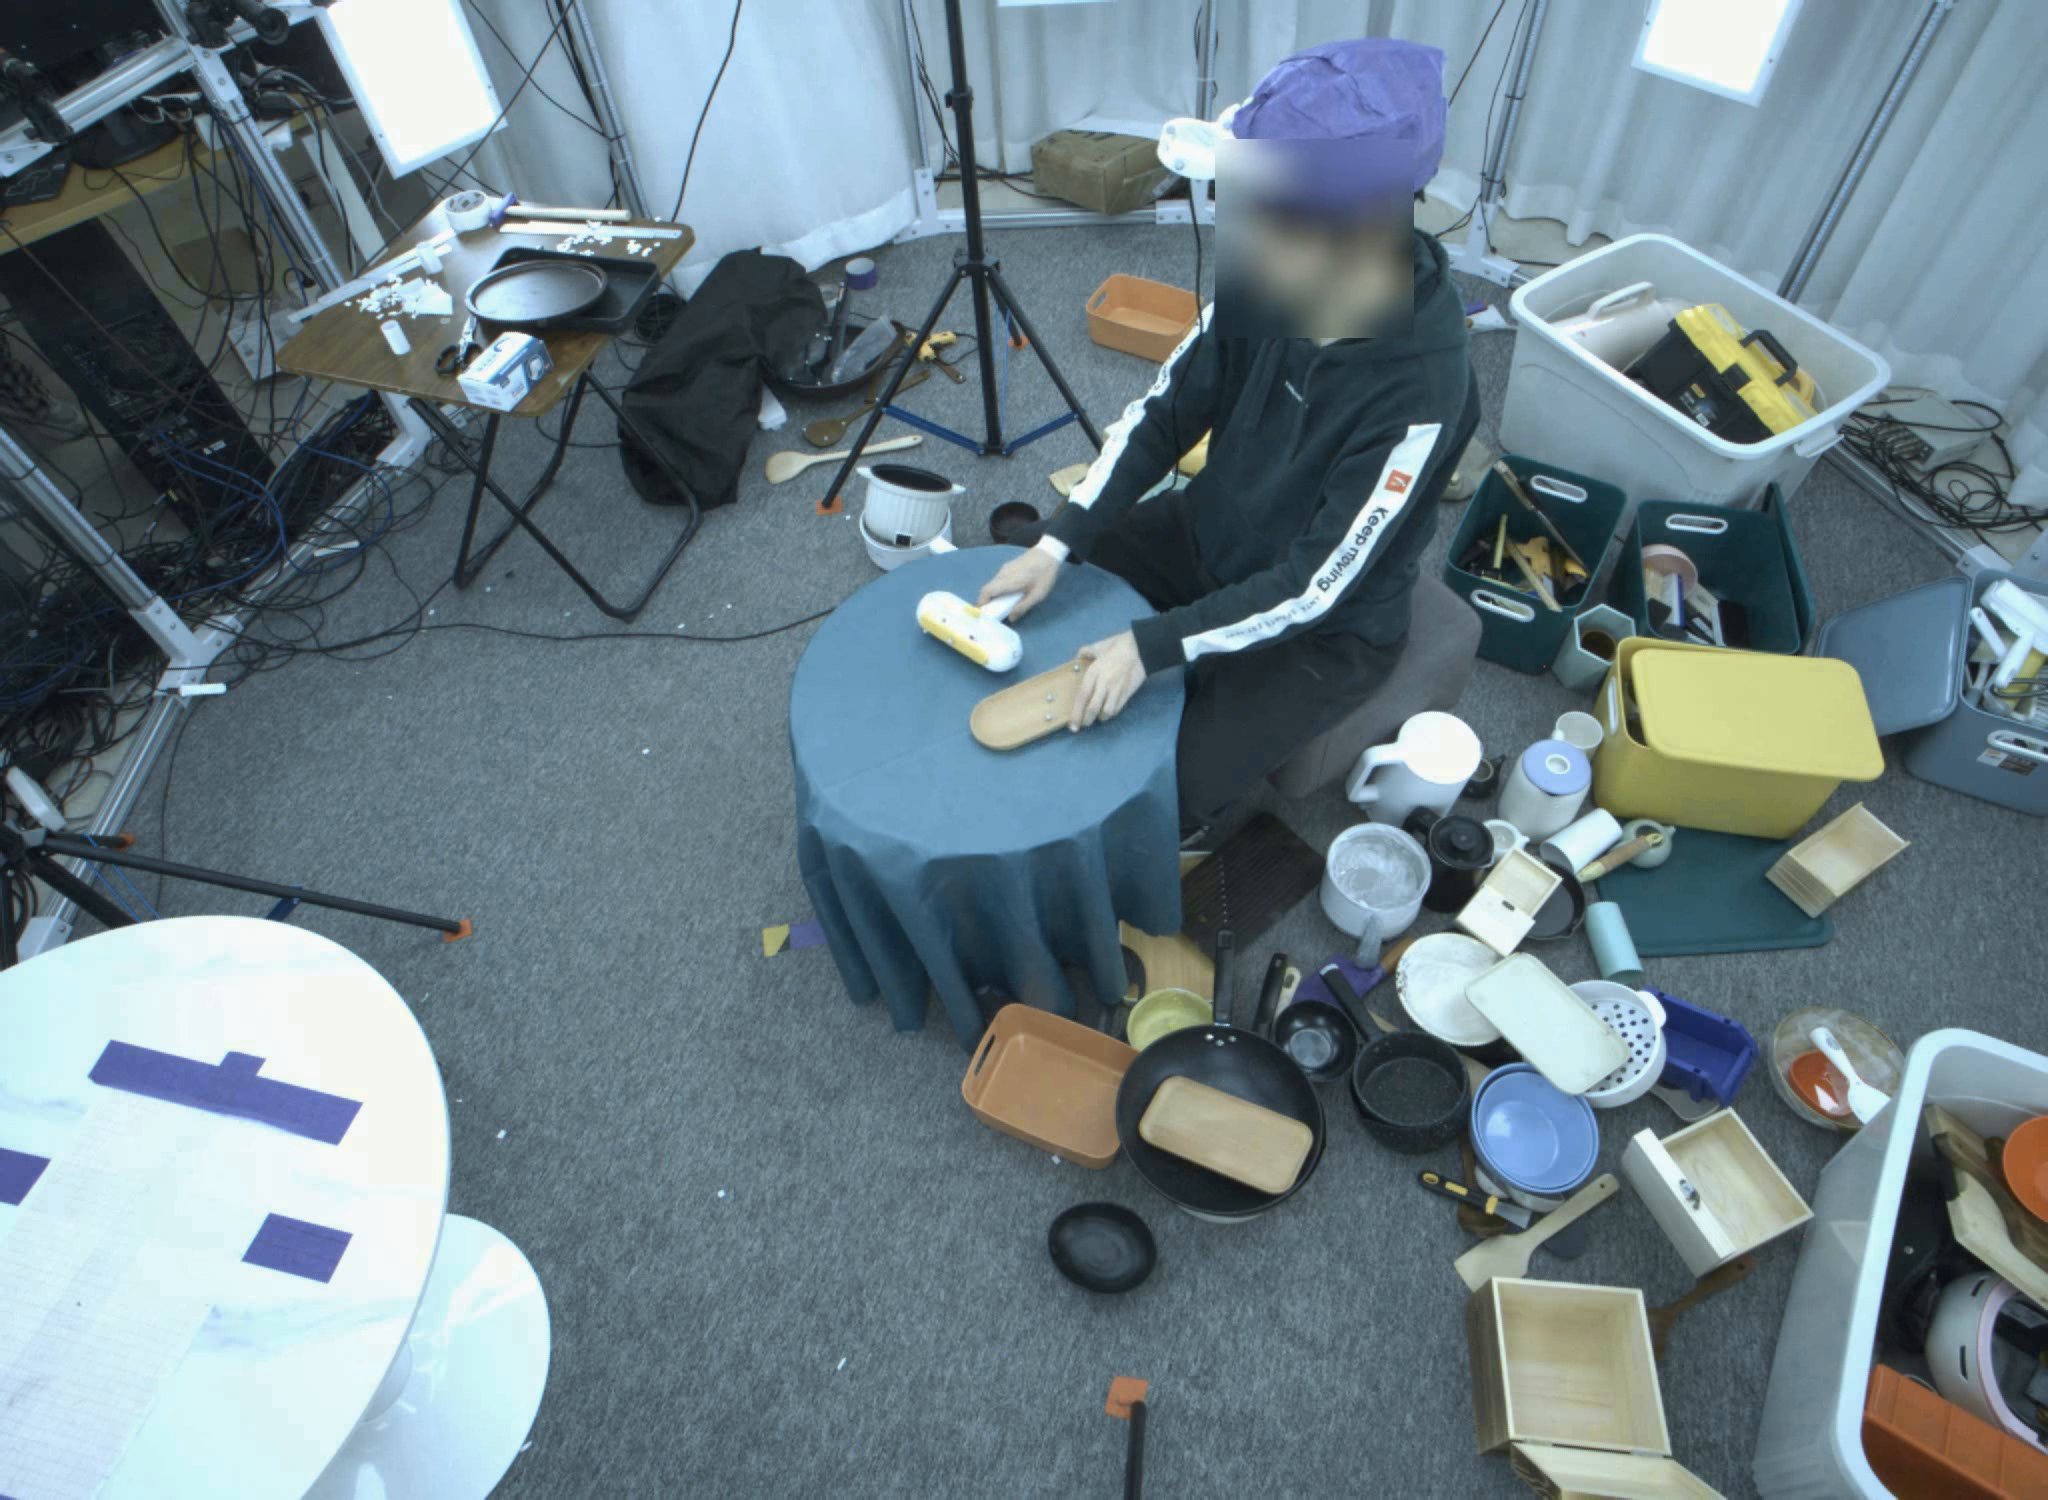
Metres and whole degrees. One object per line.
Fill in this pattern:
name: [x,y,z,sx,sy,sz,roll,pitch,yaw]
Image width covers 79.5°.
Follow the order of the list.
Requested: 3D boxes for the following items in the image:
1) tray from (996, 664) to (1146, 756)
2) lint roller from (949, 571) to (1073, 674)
tray: [0.069,-0.058,1.807,0.232,0.020,0.100,-23,56,-10]
lint roller: [0.005,-0.212,1.896,0.189,0.075,0.194,30,48,30]
